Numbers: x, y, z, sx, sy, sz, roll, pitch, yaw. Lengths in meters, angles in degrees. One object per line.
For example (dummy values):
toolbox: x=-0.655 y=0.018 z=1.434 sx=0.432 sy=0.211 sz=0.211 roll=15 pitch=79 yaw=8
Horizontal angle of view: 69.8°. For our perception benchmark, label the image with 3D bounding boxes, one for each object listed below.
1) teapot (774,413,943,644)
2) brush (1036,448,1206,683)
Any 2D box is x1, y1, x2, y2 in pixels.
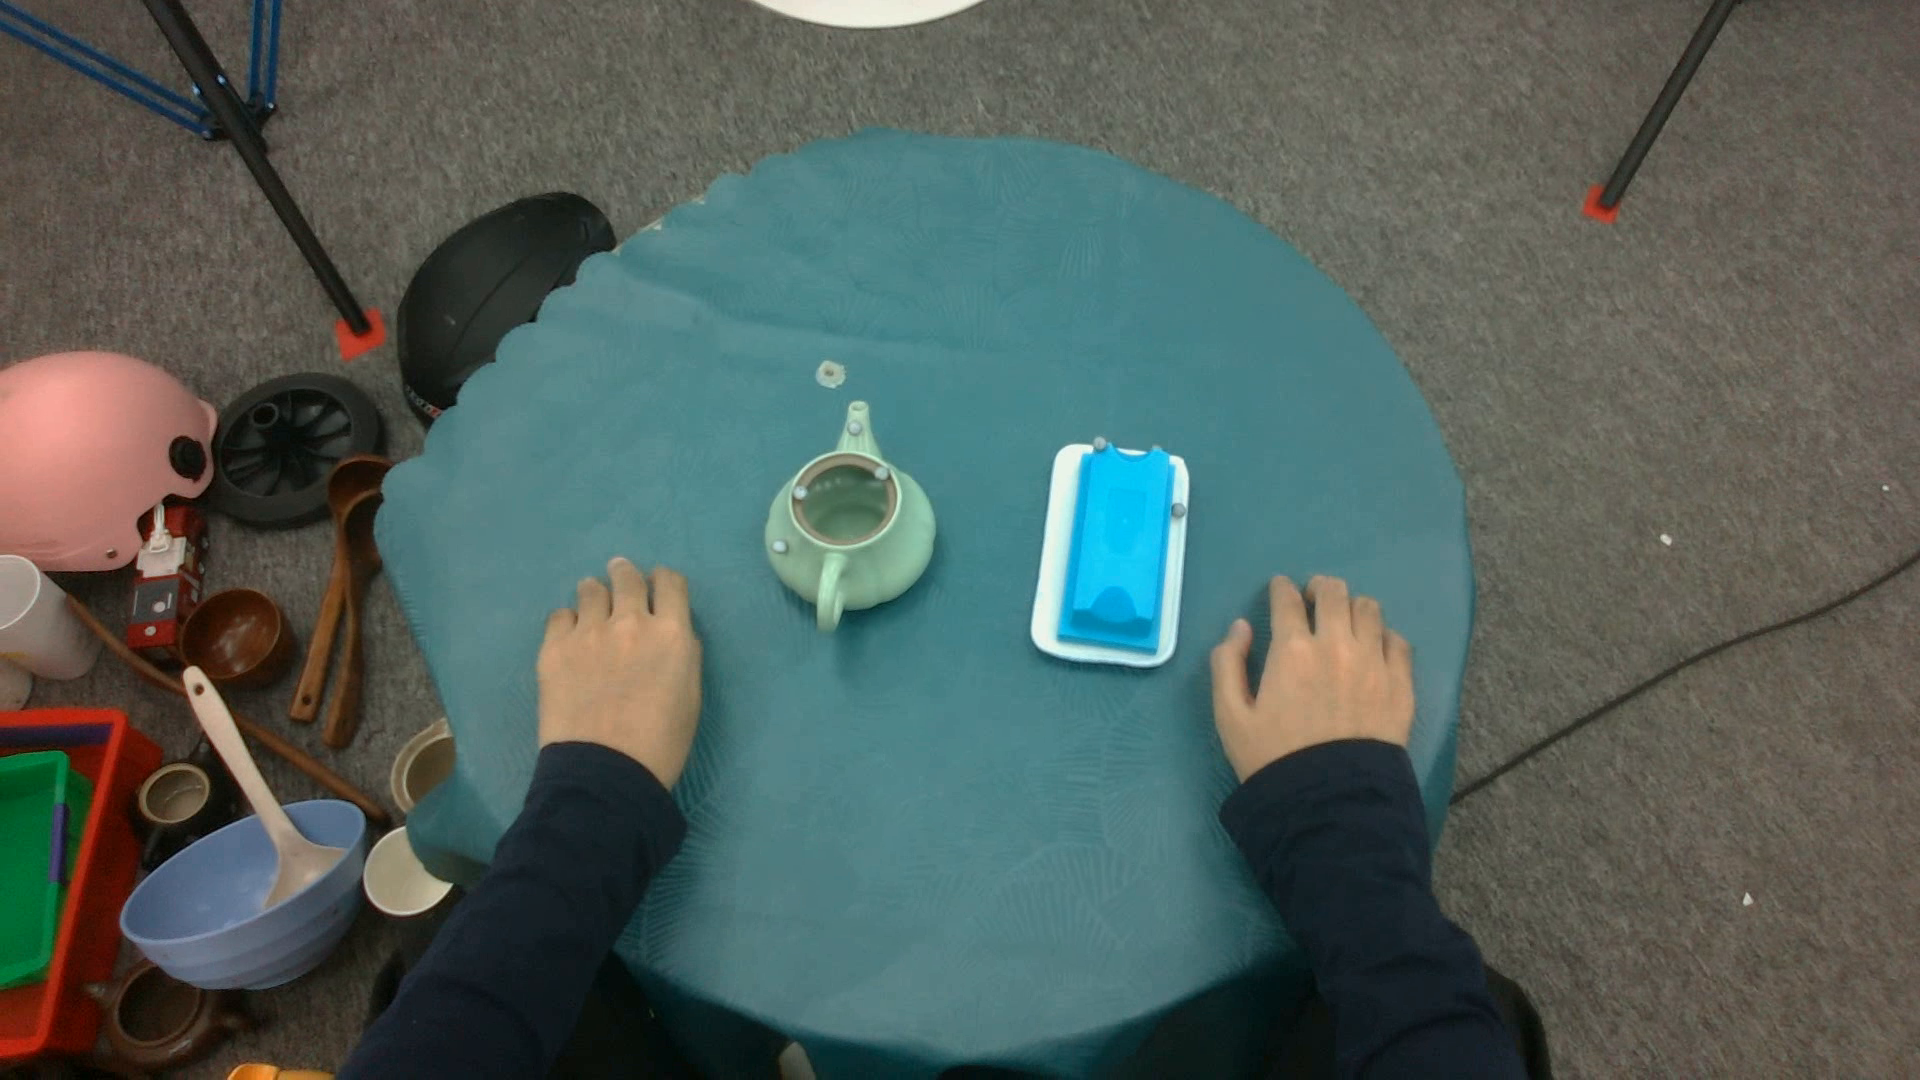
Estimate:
teapot: x=-0.058 y=0.000 z=0.778 sx=0.096 sy=0.061 sz=0.137 roll=5 pitch=60 yaw=1
brush: x=0.092 y=0.007 z=0.770 sx=0.084 sy=0.055 sz=0.144 roll=8 pitch=59 yaw=8
